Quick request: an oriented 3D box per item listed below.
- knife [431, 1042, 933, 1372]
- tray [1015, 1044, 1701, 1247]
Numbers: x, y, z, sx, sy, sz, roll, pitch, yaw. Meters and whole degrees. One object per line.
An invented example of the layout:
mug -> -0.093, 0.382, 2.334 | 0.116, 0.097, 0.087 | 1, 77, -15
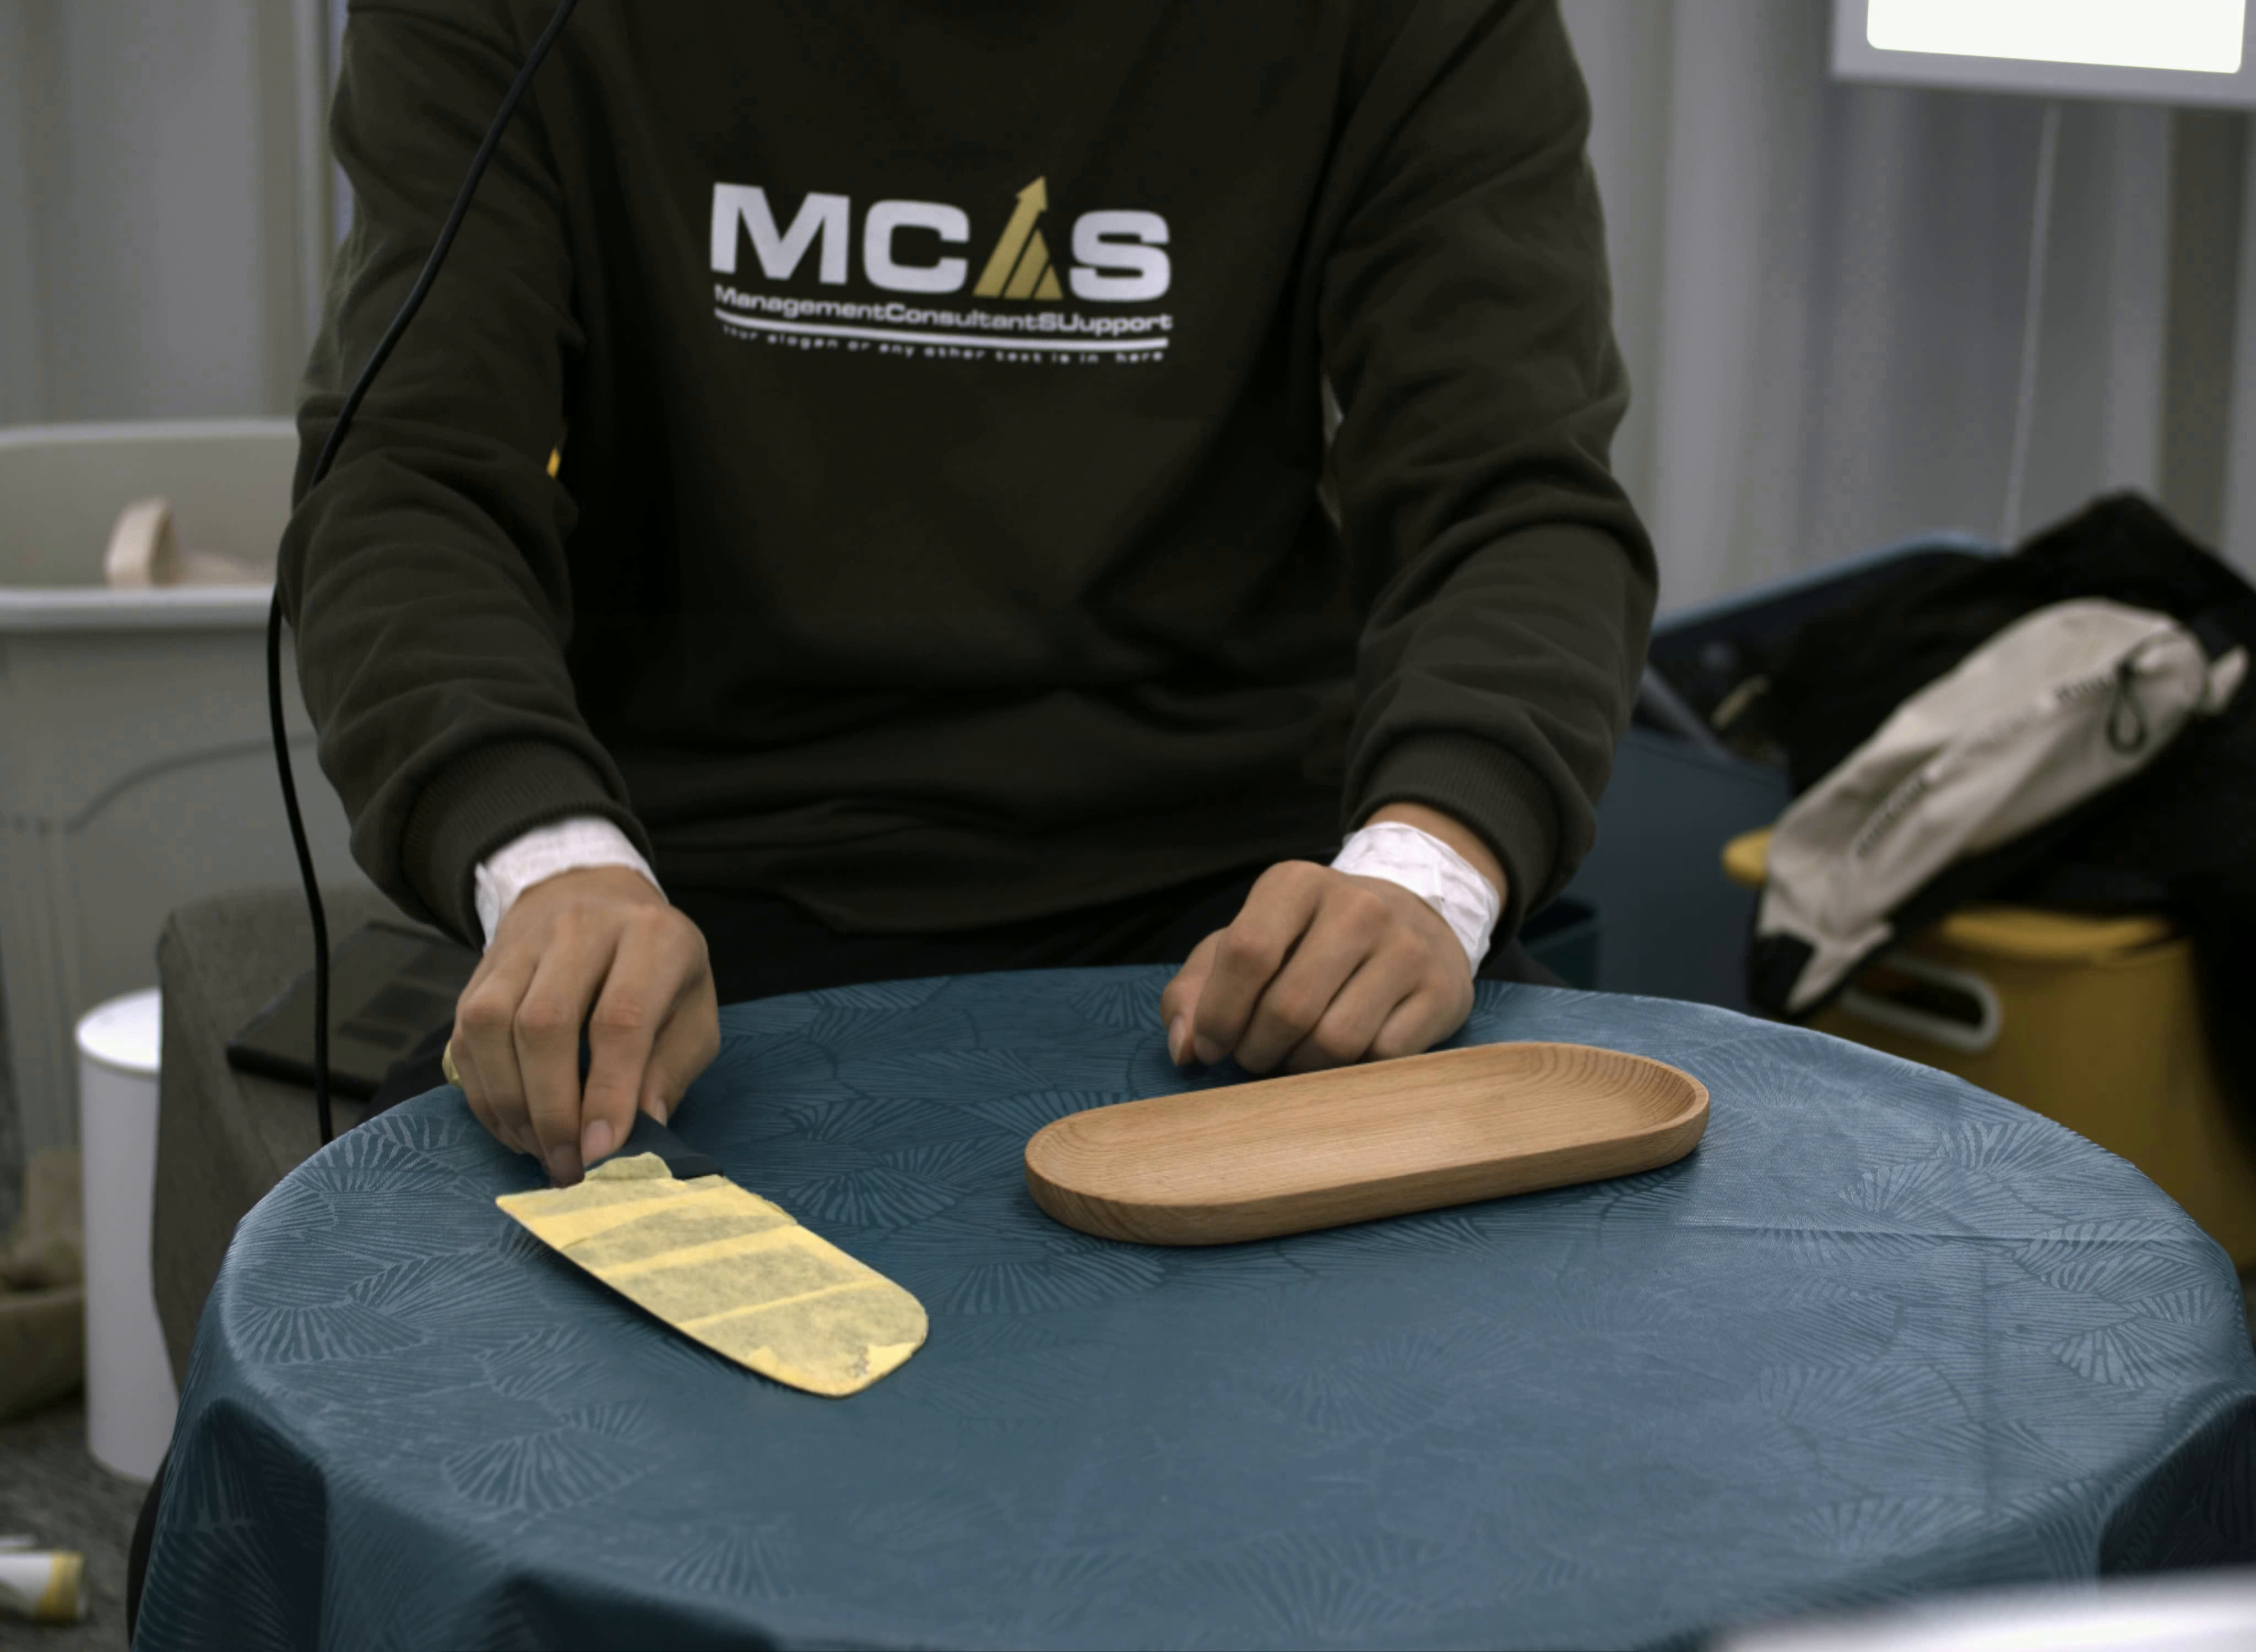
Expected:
knife -> -0.147, 0.115, 1.577 | 0.081, 0.027, 0.285 | -4, 17, -33
tray -> 0.074, 0.099, 1.645 | 0.232, 0.020, 0.100 | -9, 17, -27
